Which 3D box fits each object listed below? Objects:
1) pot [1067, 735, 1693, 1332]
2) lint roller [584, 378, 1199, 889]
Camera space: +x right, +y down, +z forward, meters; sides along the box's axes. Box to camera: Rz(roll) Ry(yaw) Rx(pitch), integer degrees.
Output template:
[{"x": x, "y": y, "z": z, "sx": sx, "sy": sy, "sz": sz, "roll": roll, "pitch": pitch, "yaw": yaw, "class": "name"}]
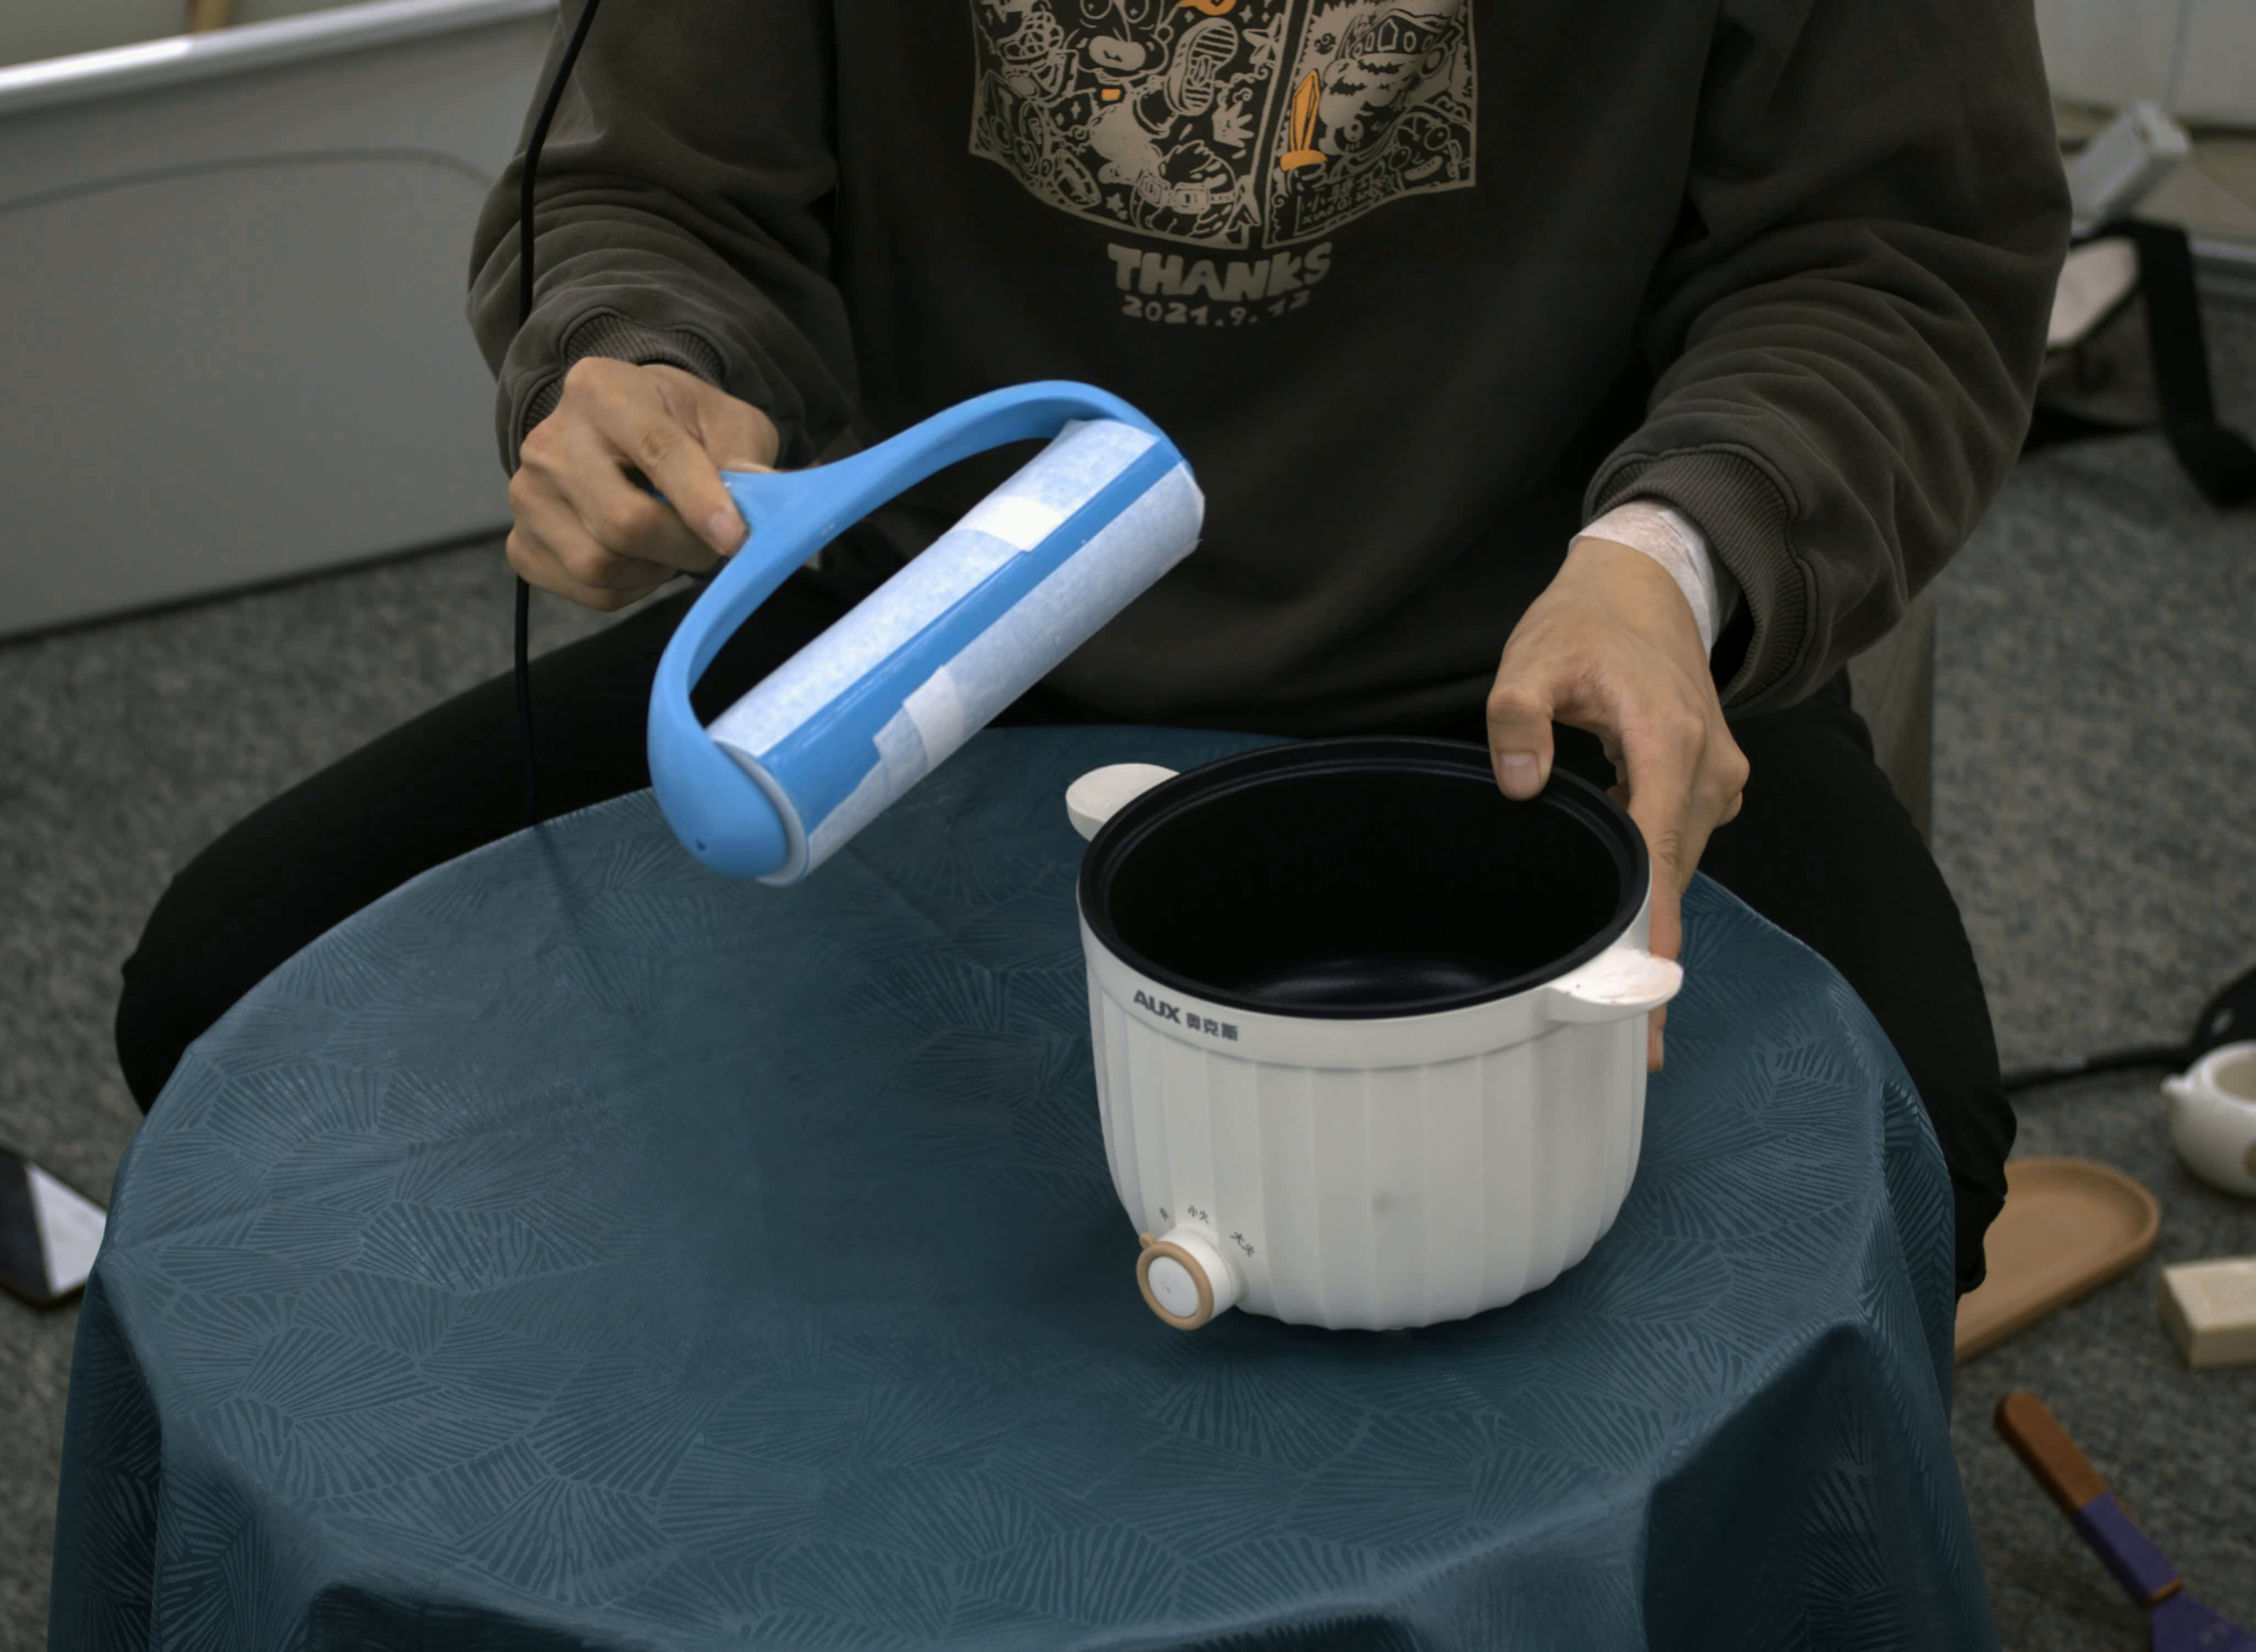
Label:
[{"x": 0.076, "y": 0.073, "z": 1.797, "sx": 0.239, "sy": 0.141, "sz": 0.193, "roll": 18, "pitch": 31, "yaw": 37, "class": "pot"}, {"x": -0.104, "y": -0.078, "z": 1.766, "sx": 0.180, "sy": 0.067, "sz": 0.233, "roll": 23, "pitch": 49, "yaw": 27, "class": "lint roller"}]
